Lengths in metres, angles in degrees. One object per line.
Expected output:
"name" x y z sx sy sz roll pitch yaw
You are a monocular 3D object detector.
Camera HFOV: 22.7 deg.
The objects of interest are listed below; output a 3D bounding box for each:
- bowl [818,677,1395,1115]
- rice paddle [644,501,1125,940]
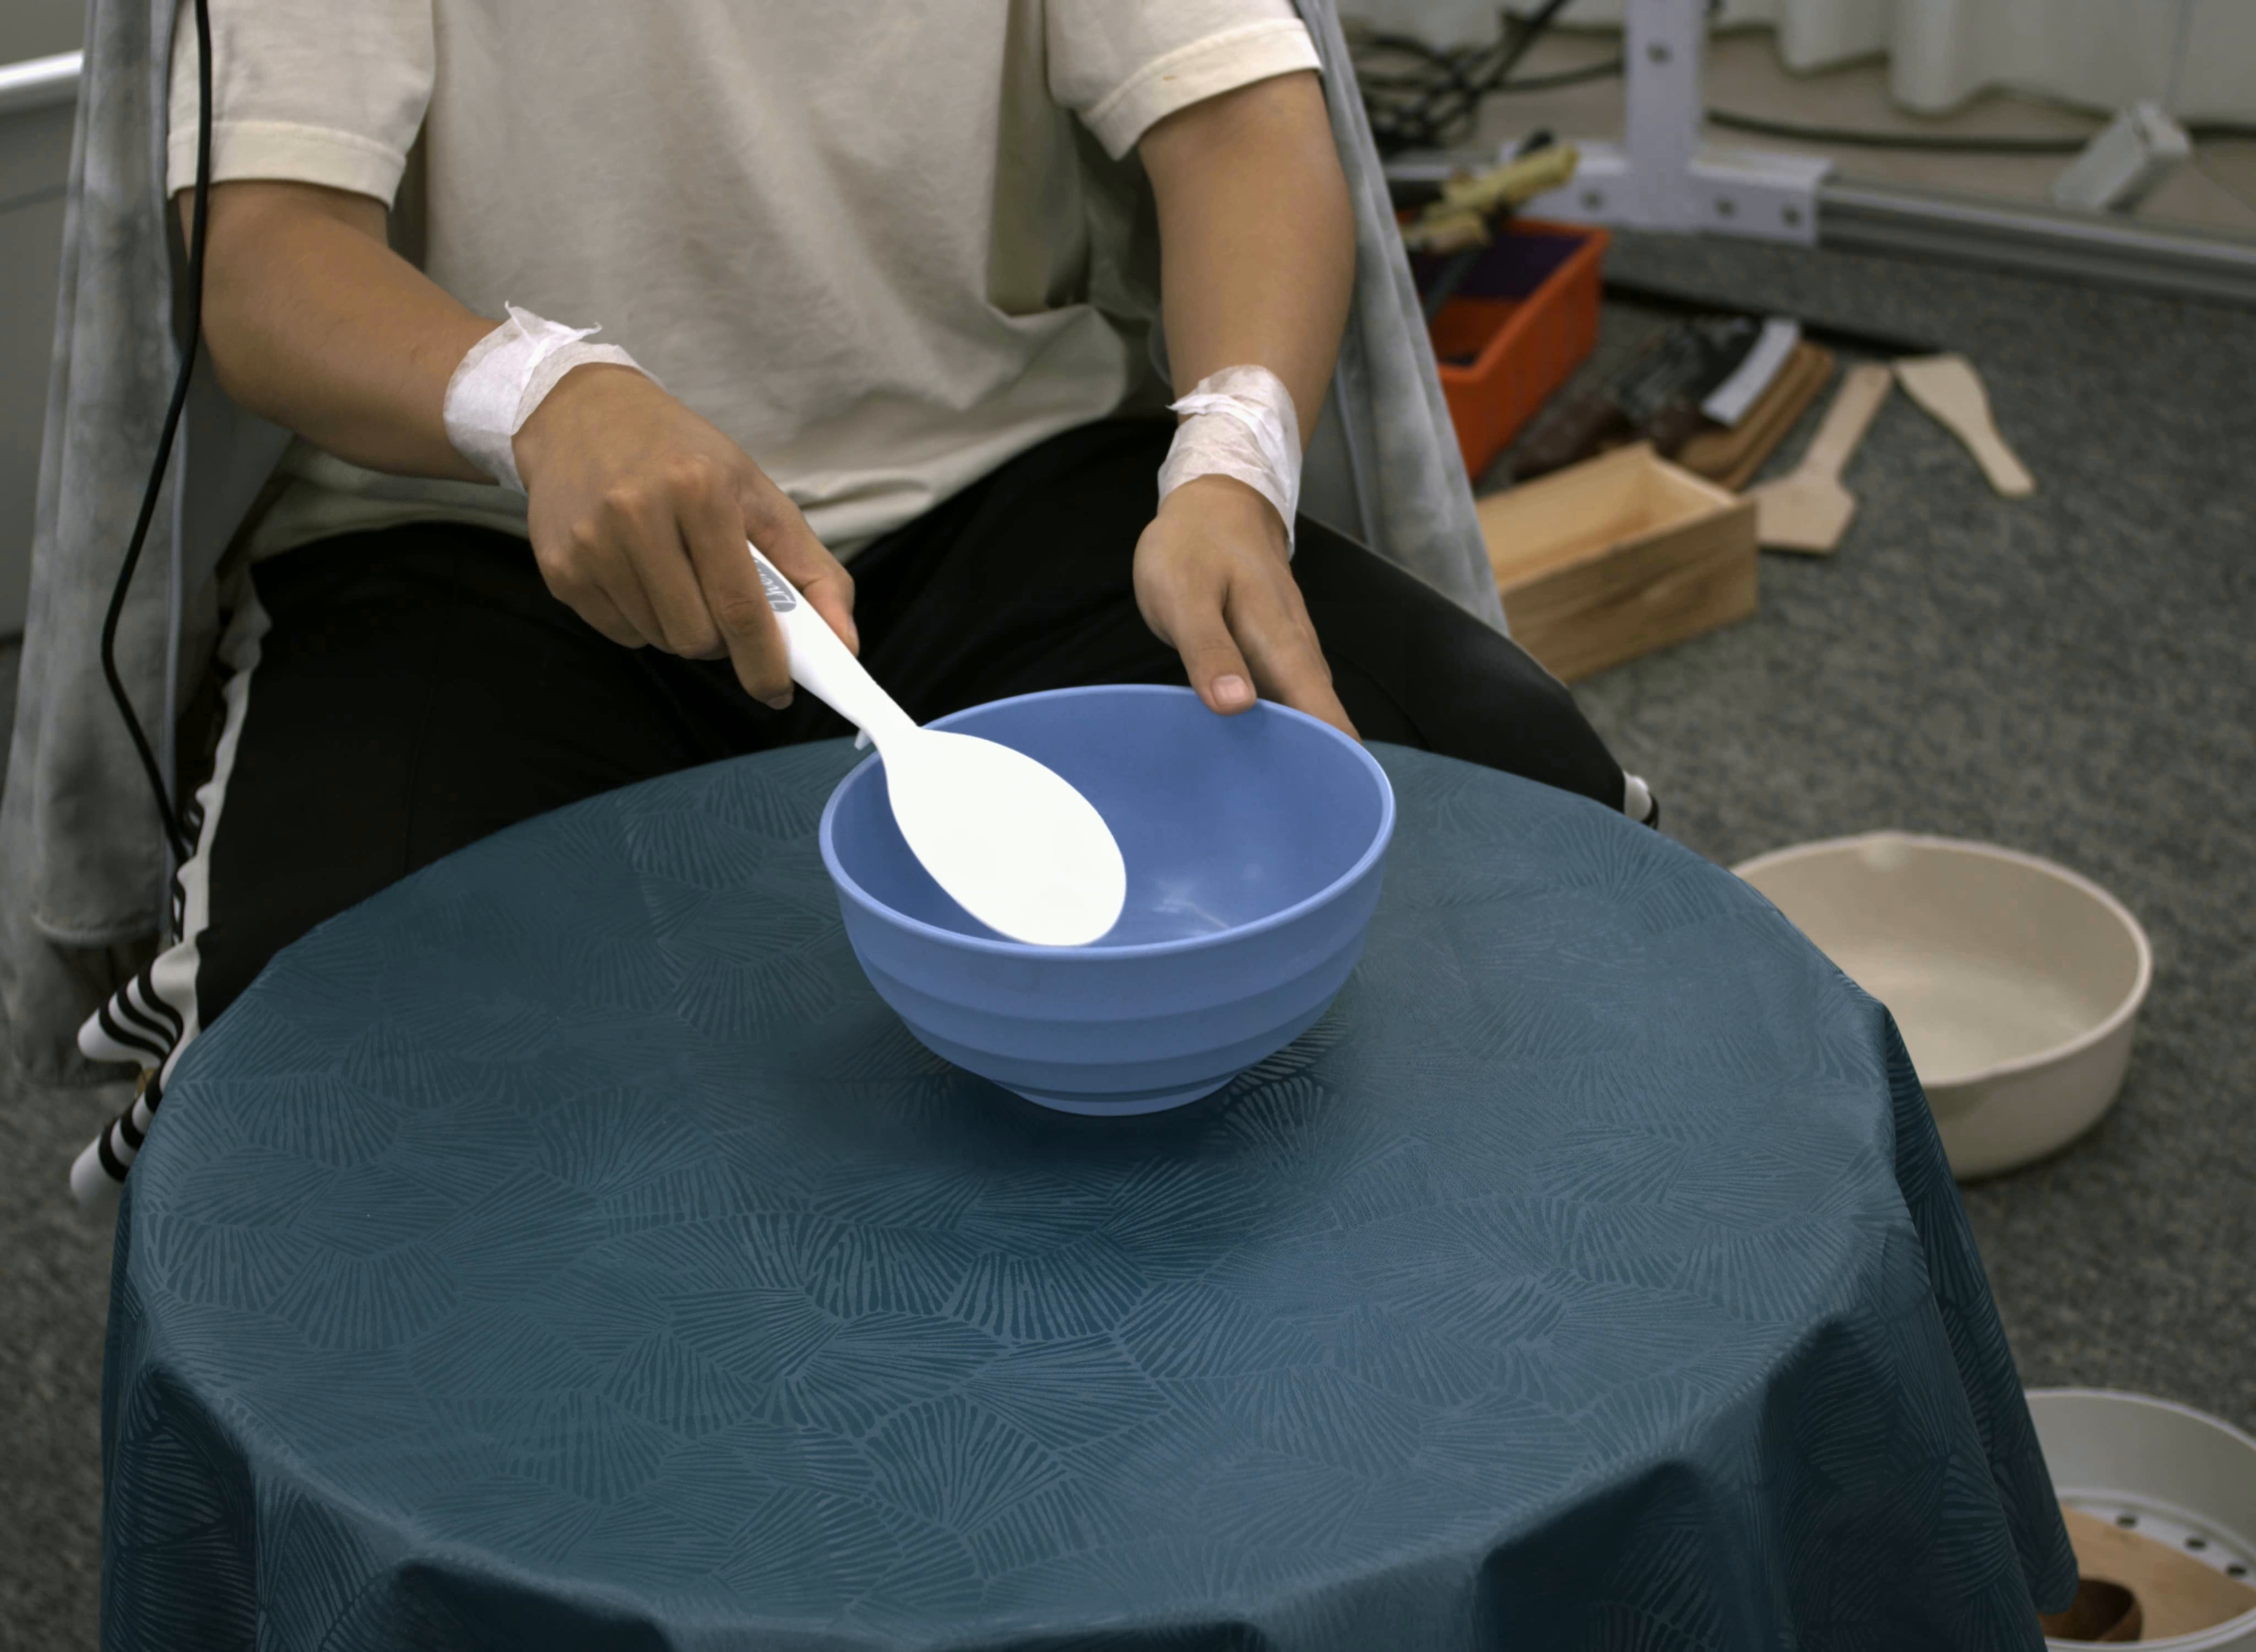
"bowl" -0.005 0.035 1.923 0.195 0.094 0.199 -3 29 2
"rice paddle" -0.082 -0.035 1.923 0.205 0.029 0.070 42 54 12
